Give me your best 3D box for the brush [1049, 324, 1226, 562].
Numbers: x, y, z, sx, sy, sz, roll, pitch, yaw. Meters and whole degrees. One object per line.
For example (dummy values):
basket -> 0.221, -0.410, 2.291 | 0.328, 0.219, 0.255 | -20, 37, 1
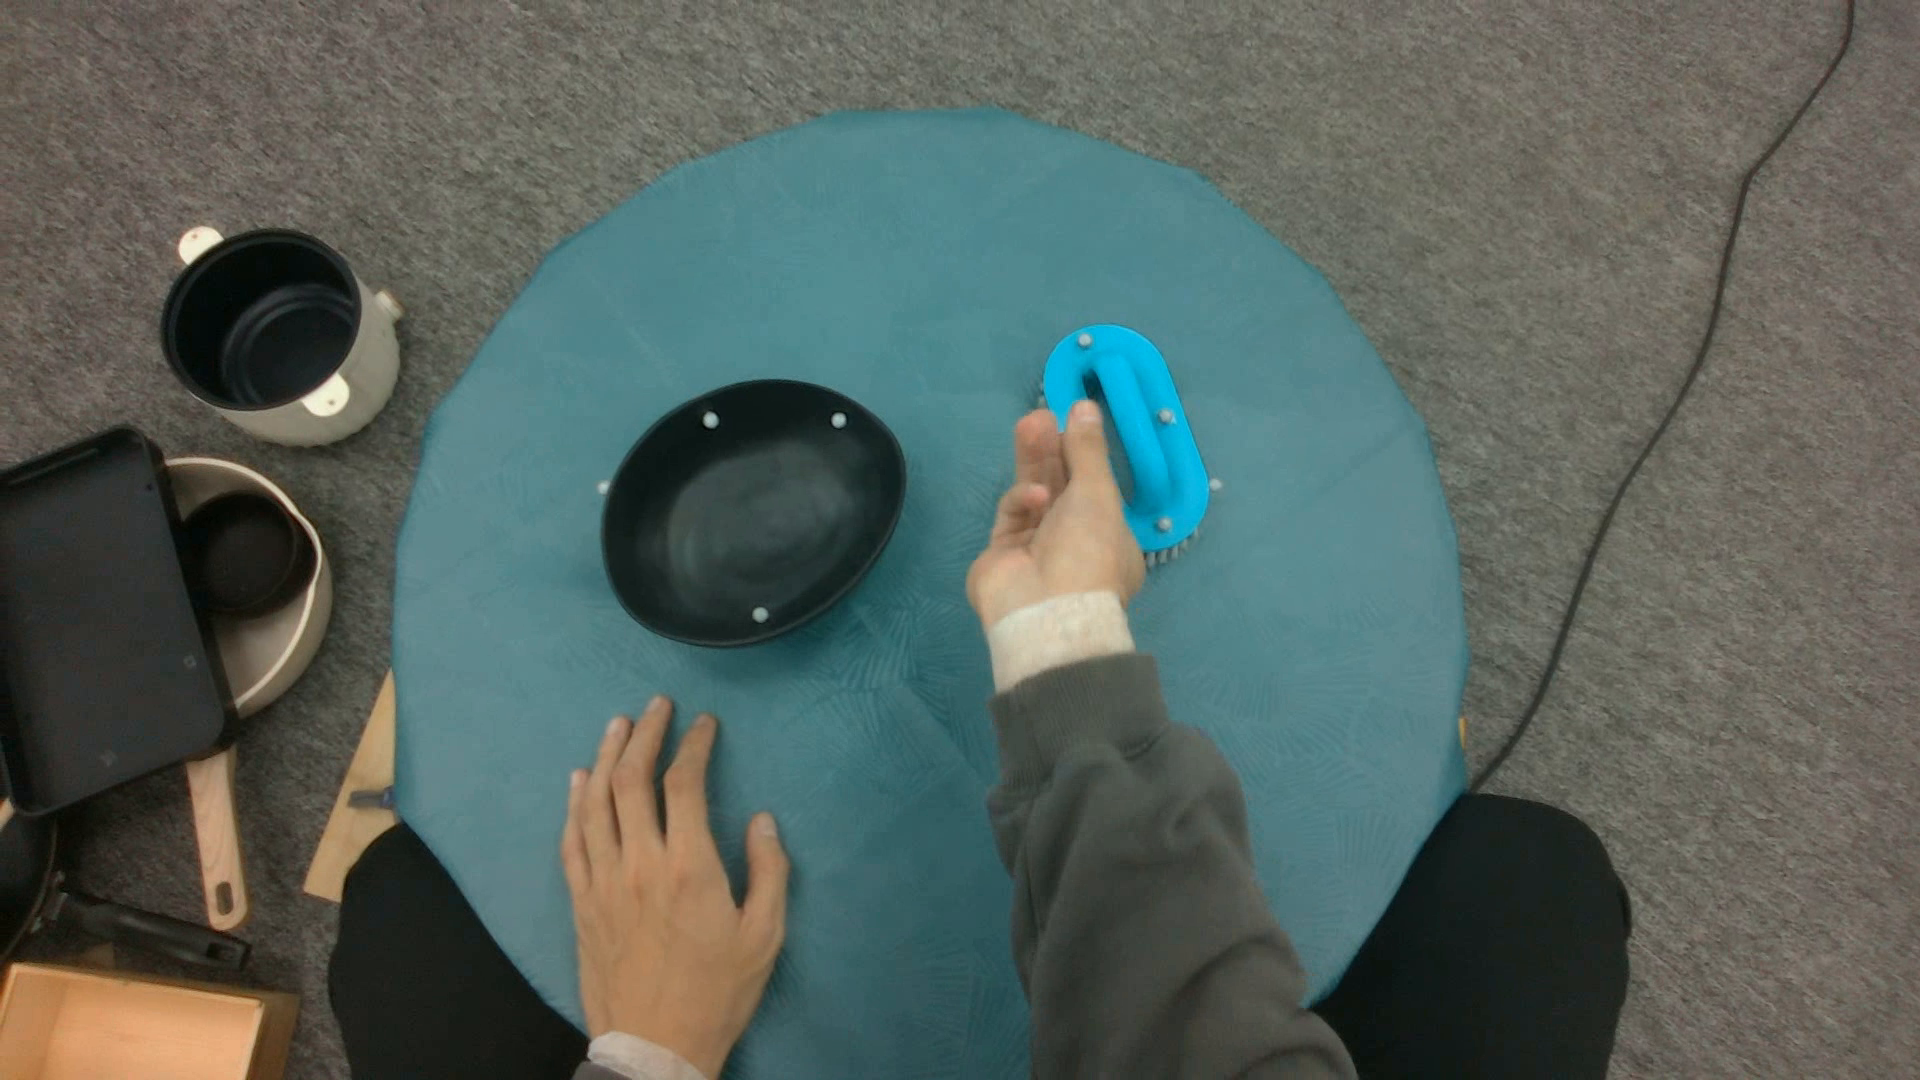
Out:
brush -> 0.099, -0.059, 0.779 | 0.084, 0.063, 0.142 | -15, 73, -1

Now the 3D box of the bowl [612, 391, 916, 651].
bowl -> -0.106, -0.007, 0.762 | 0.170, 0.066, 0.137 | -34, 77, -12
